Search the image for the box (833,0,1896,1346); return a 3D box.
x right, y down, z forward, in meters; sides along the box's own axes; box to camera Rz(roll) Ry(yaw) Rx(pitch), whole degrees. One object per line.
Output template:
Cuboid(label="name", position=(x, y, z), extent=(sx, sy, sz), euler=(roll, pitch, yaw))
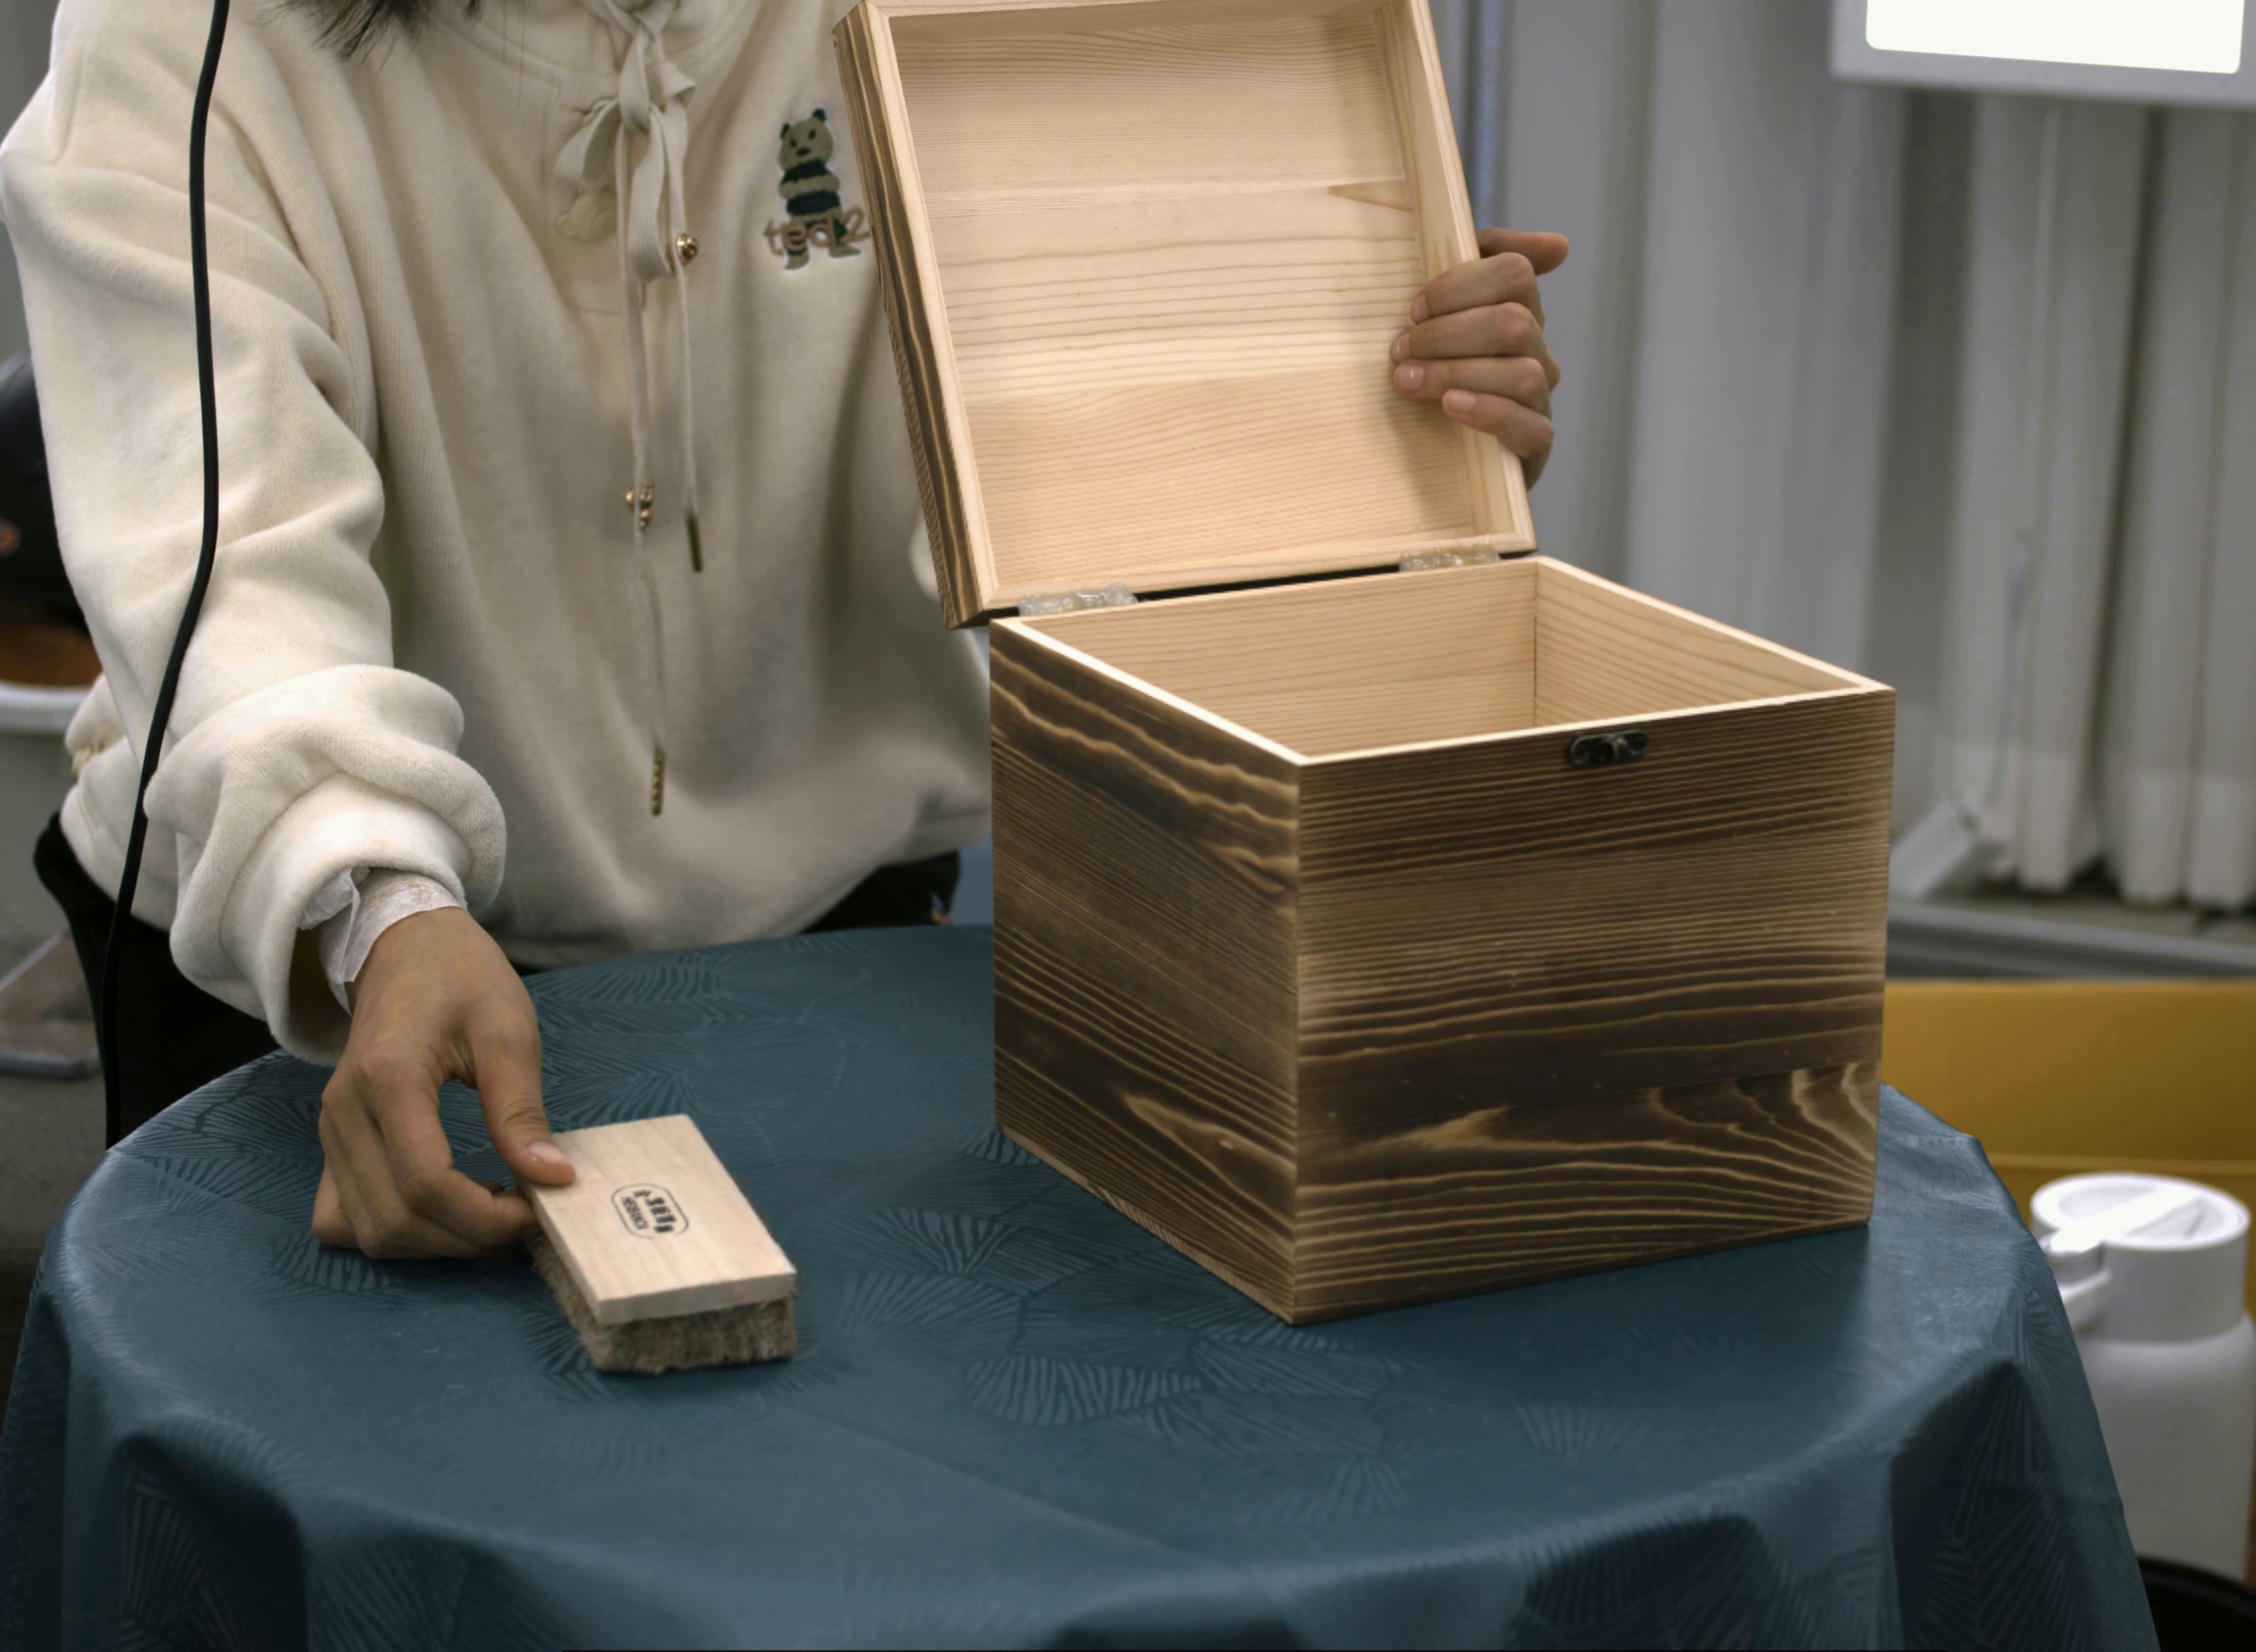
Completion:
Cuboid(label="box", position=(0.066, -0.078, 1.626), extent=(0.209, 0.378, 0.318), euler=(-9, 19, -26))

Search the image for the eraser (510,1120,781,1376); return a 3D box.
Cuboid(label="eraser", position=(-0.141, 0.122, 1.525), extent=(0.057, 0.029, 0.138), euler=(-7, 16, -14))
